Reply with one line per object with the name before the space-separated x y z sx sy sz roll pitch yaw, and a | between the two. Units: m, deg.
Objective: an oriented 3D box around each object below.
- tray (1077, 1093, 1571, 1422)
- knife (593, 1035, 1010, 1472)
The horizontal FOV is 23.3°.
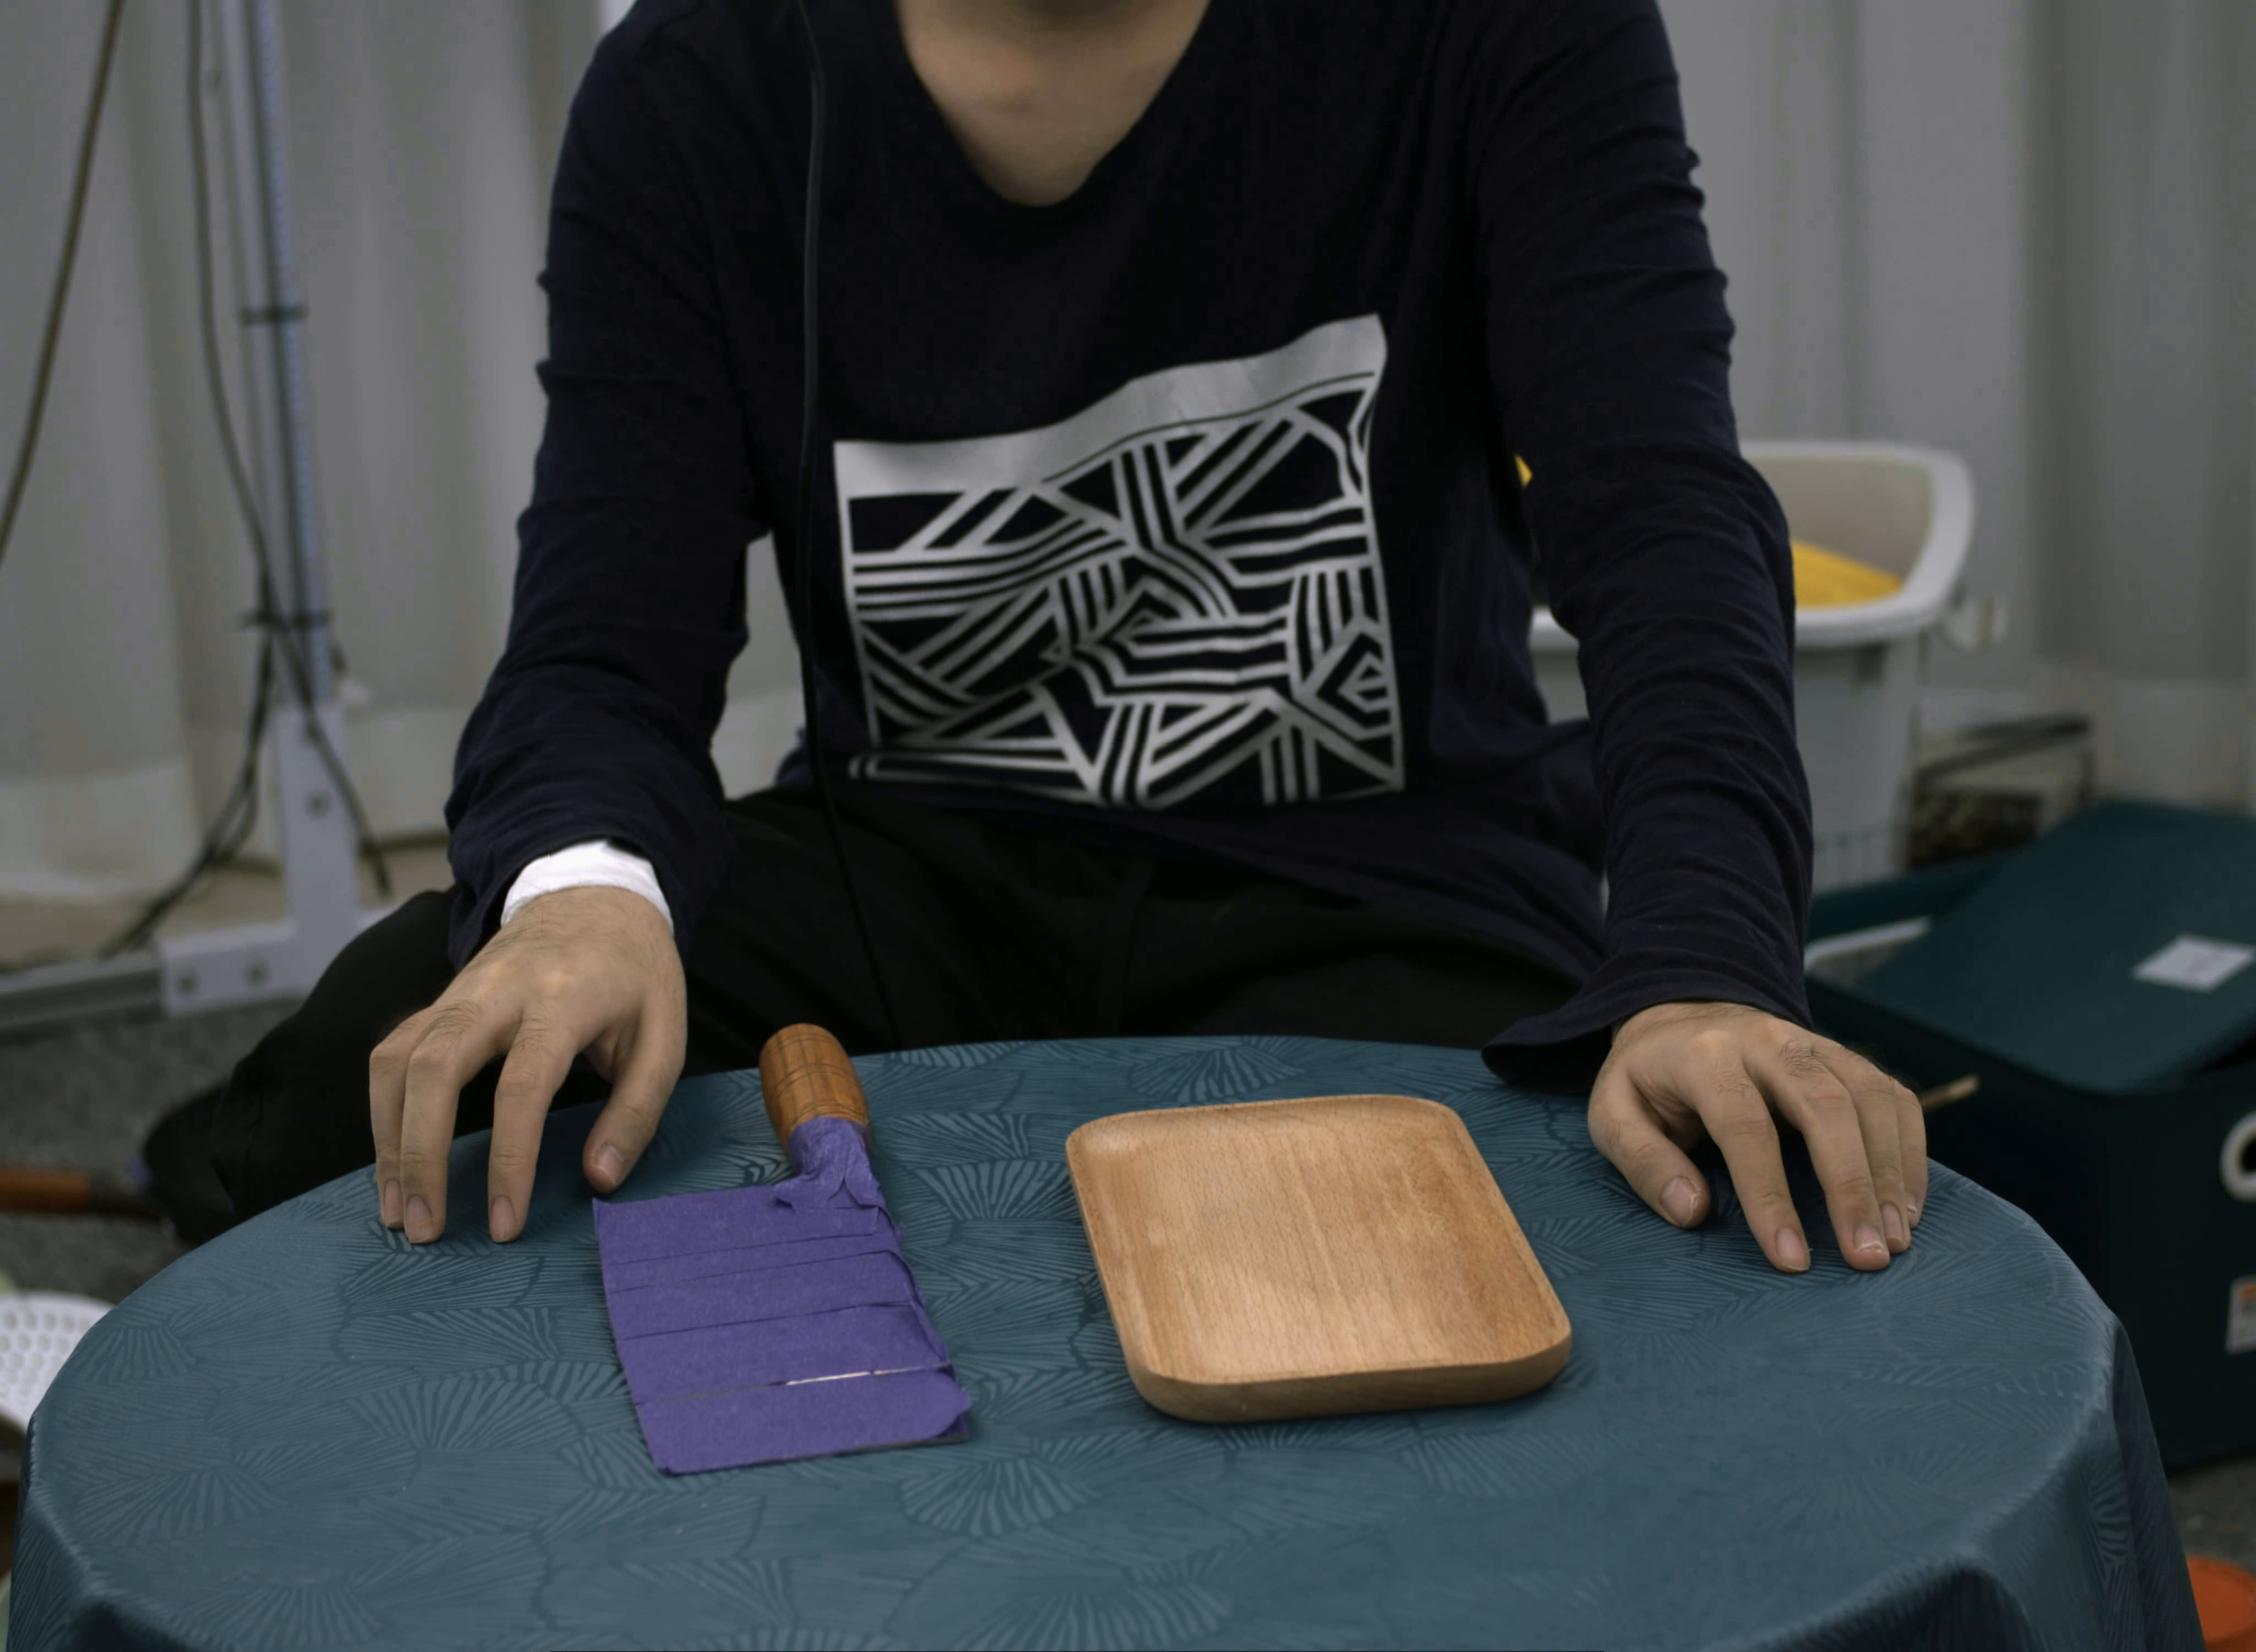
tray | 0.054 0.126 1.633 0.130 0.023 0.252 -1 14 -3
knife | -0.112 0.125 1.649 0.103 0.032 0.318 -5 15 -10
